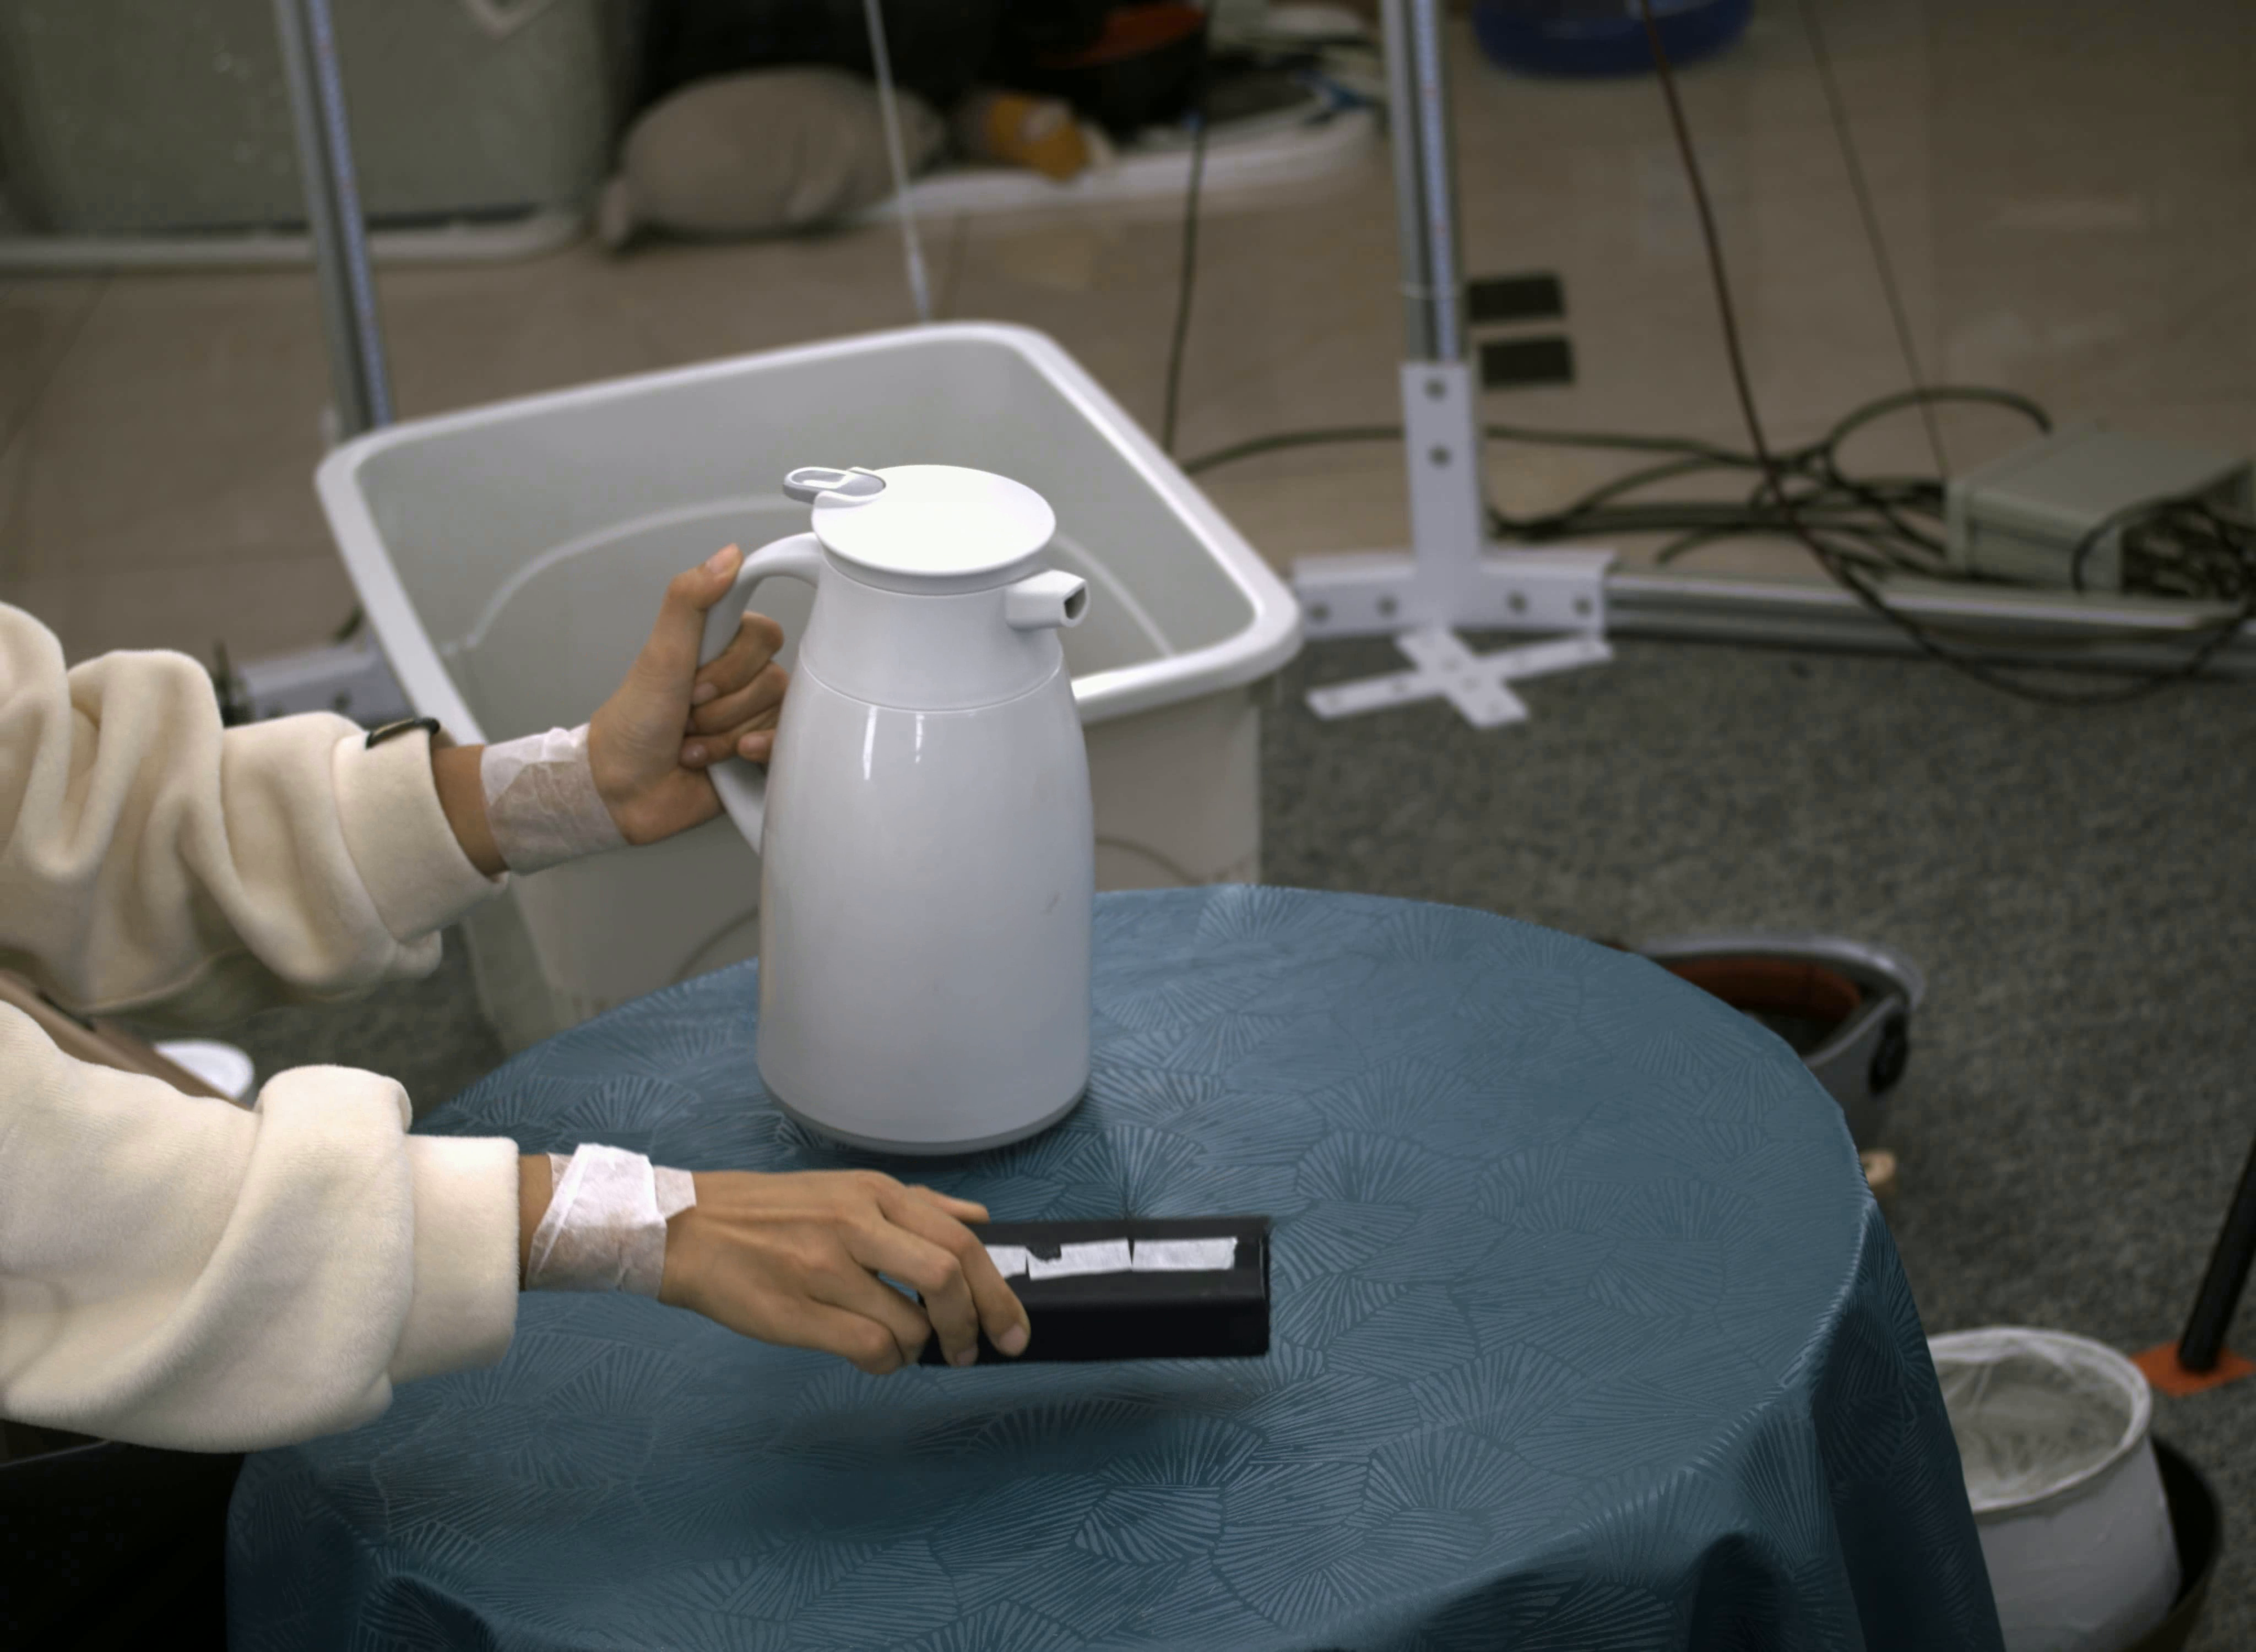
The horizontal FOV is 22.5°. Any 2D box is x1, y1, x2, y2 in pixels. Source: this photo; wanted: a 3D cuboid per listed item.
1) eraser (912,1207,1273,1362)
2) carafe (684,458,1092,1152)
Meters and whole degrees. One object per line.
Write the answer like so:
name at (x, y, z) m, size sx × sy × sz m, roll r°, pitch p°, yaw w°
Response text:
eraser at (-0.013, 0.160, 1.987) m, size 0.125 × 0.031 × 0.052 m, roll -3°, pitch 32°, yaw -1°
carafe at (-0.095, -0.019, 2.168) m, size 0.167 × 0.253 × 0.131 m, roll 15°, pitch 33°, yaw 23°
